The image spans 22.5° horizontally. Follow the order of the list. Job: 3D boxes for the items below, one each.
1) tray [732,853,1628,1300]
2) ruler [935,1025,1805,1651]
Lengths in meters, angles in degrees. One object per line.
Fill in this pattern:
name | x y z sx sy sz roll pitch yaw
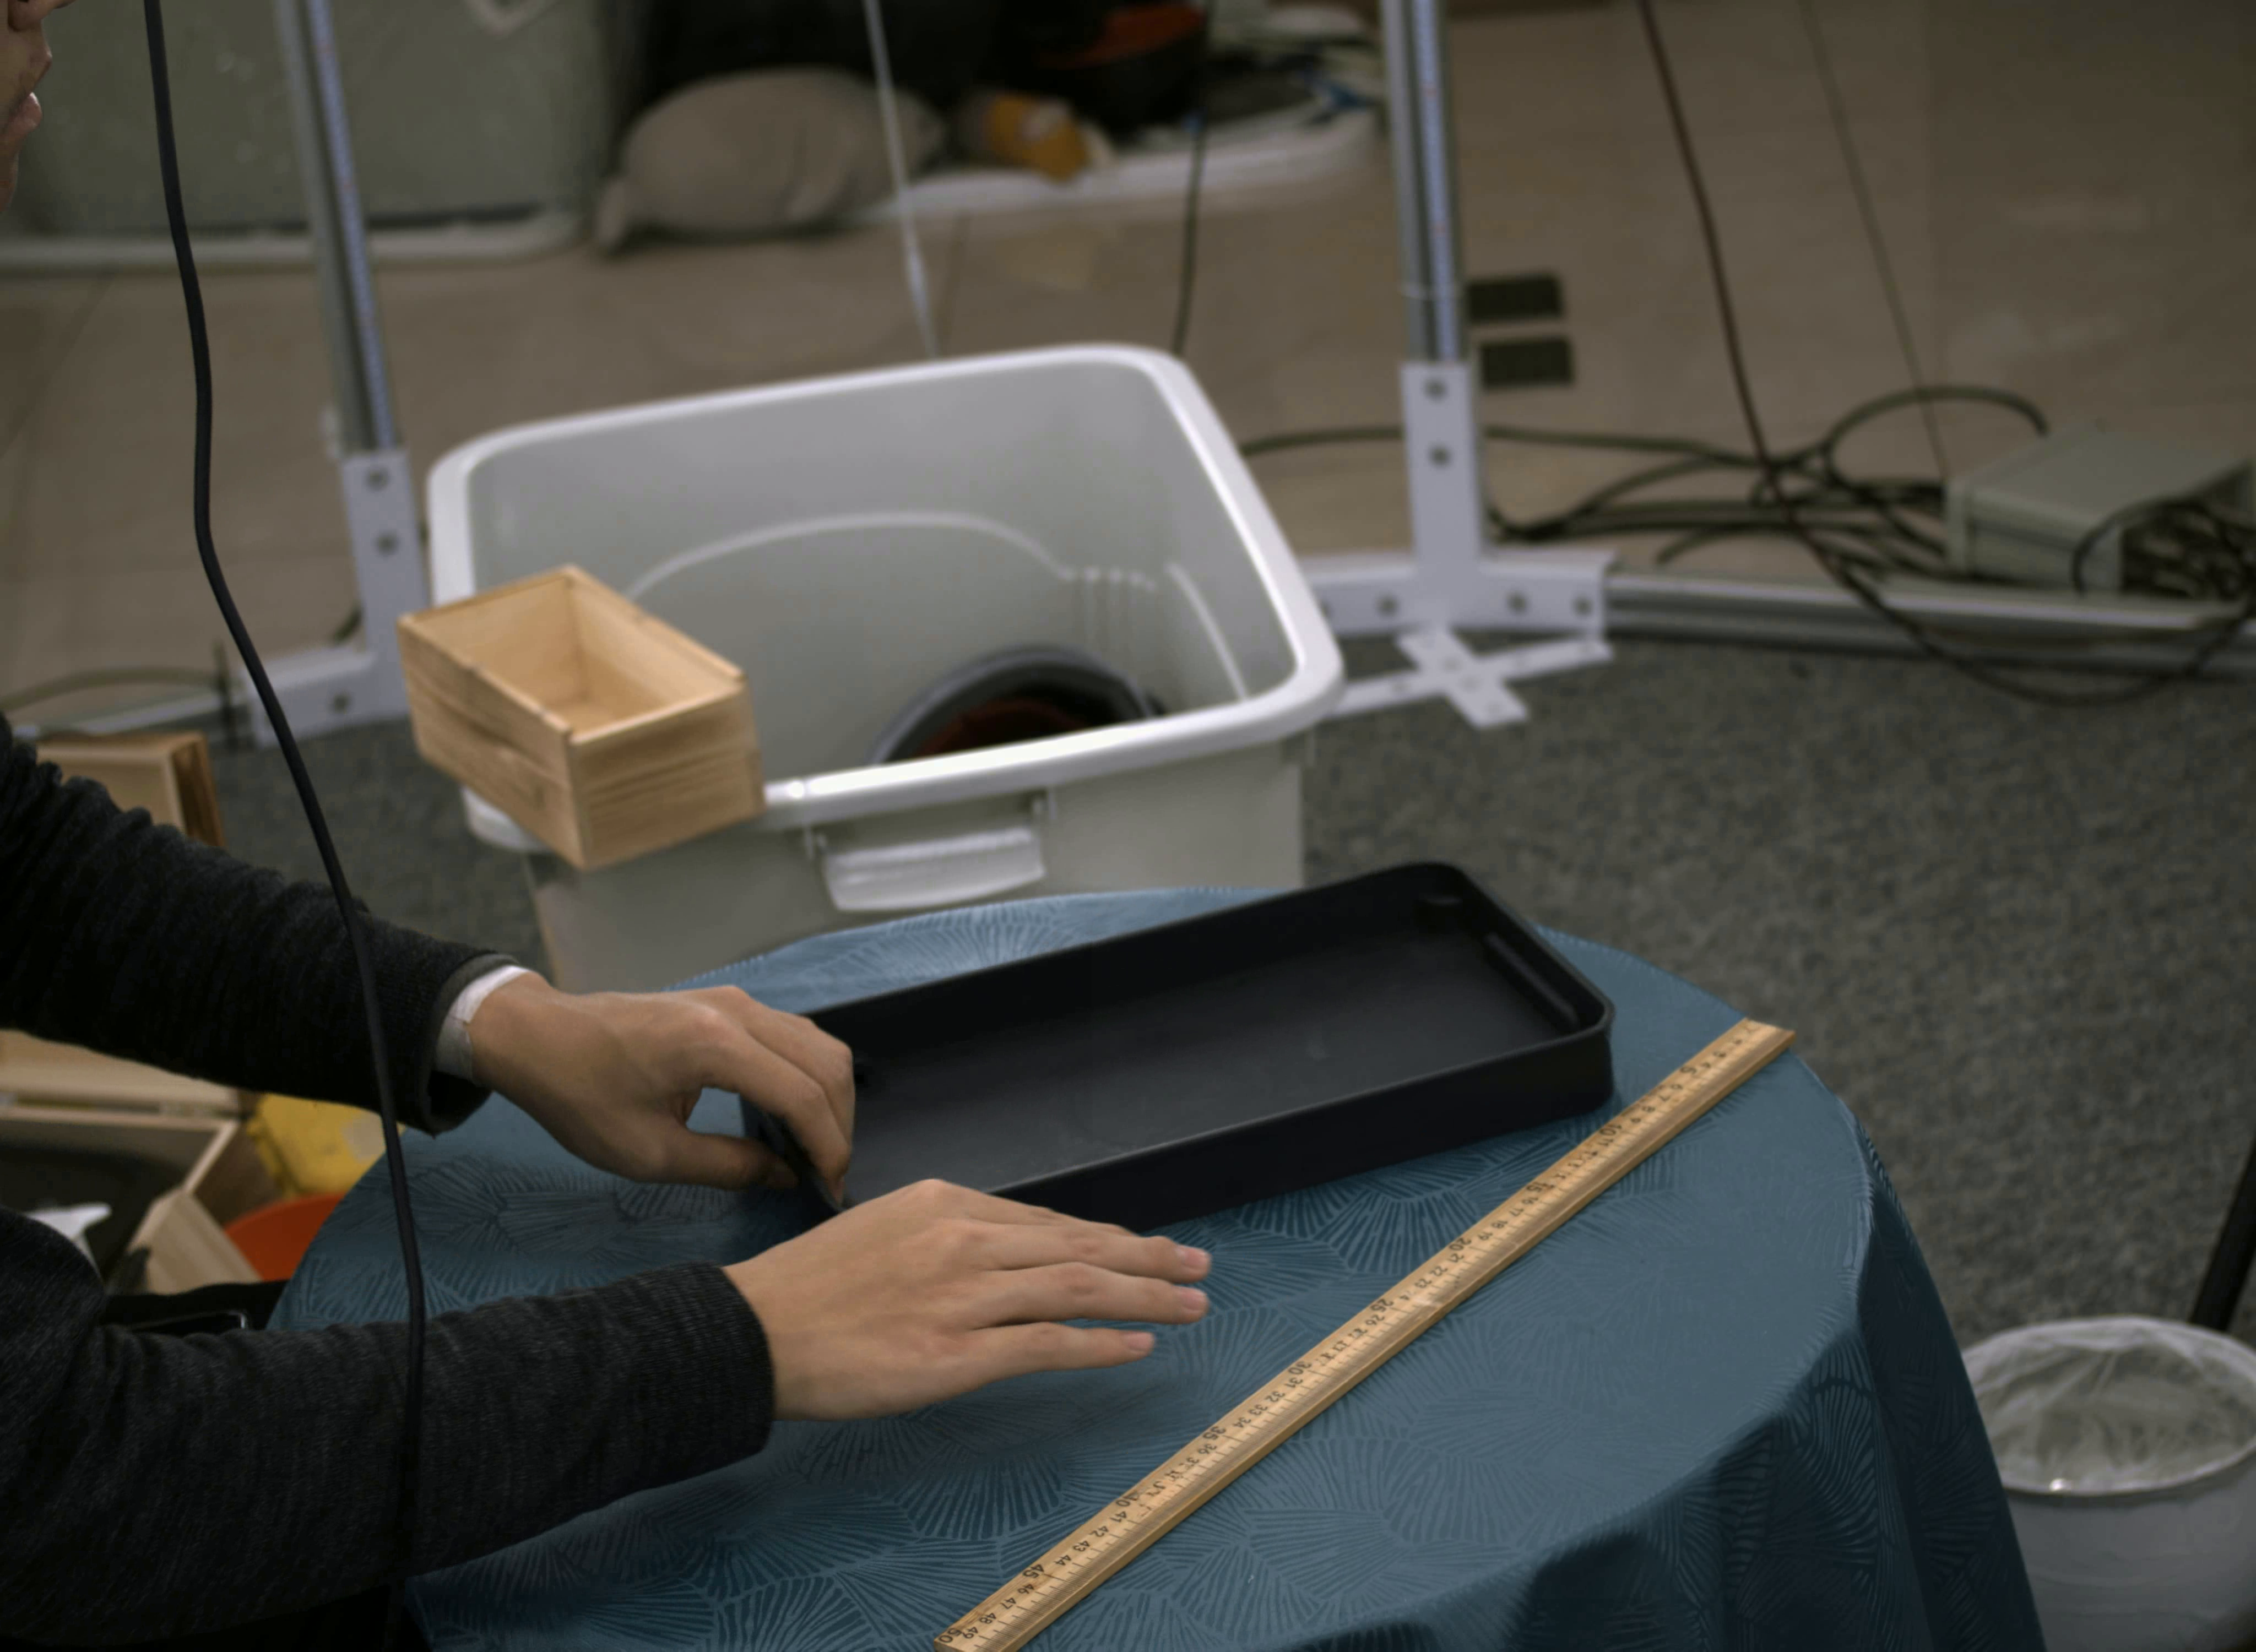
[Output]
tray | 0.020 0.093 2.199 0.317 0.037 0.182 -15 26 -17
ruler | 0.098 0.176 2.039 0.026 0.006 0.495 11 30 38
